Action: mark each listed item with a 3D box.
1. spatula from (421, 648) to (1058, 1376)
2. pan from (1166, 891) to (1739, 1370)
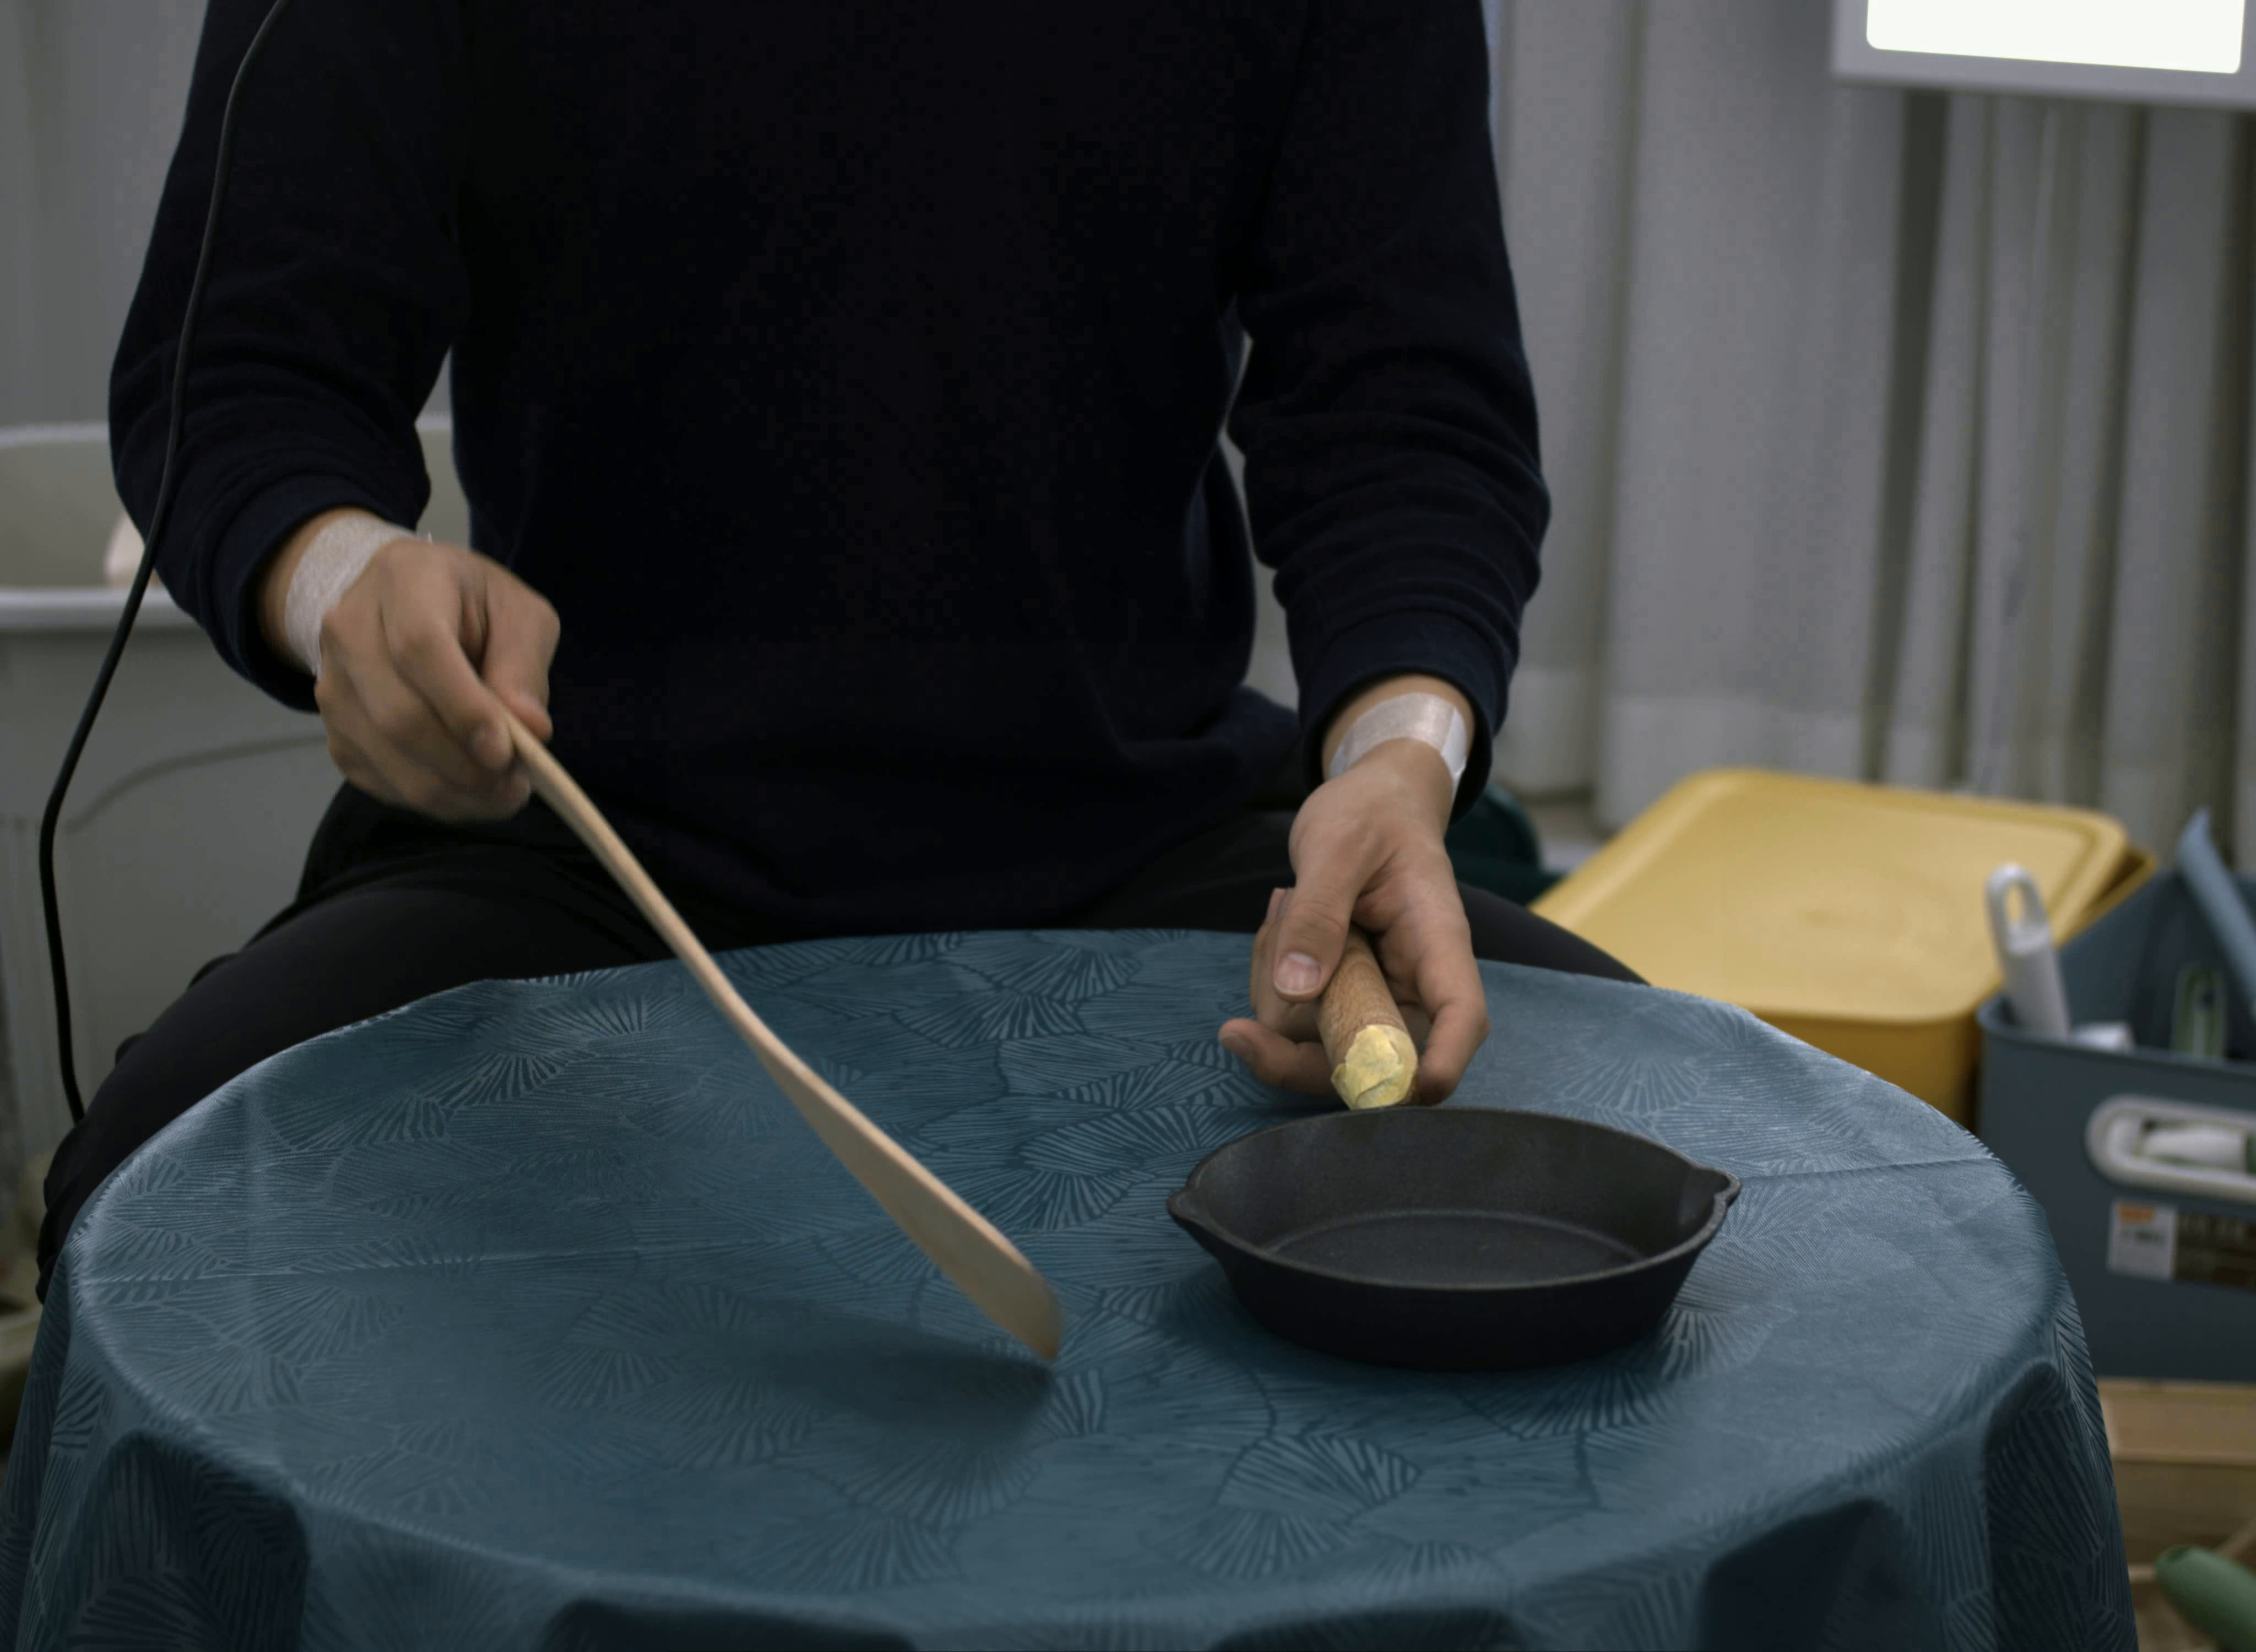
[{"bbox_3d":[-0.117,0.046,1.523,0.016,0.081,0.323,-35,56,-12],"label":"spatula"},{"bbox_3d":[0.086,0.089,1.611,0.169,0.050,0.321,-1,17,-6],"label":"pan"}]
